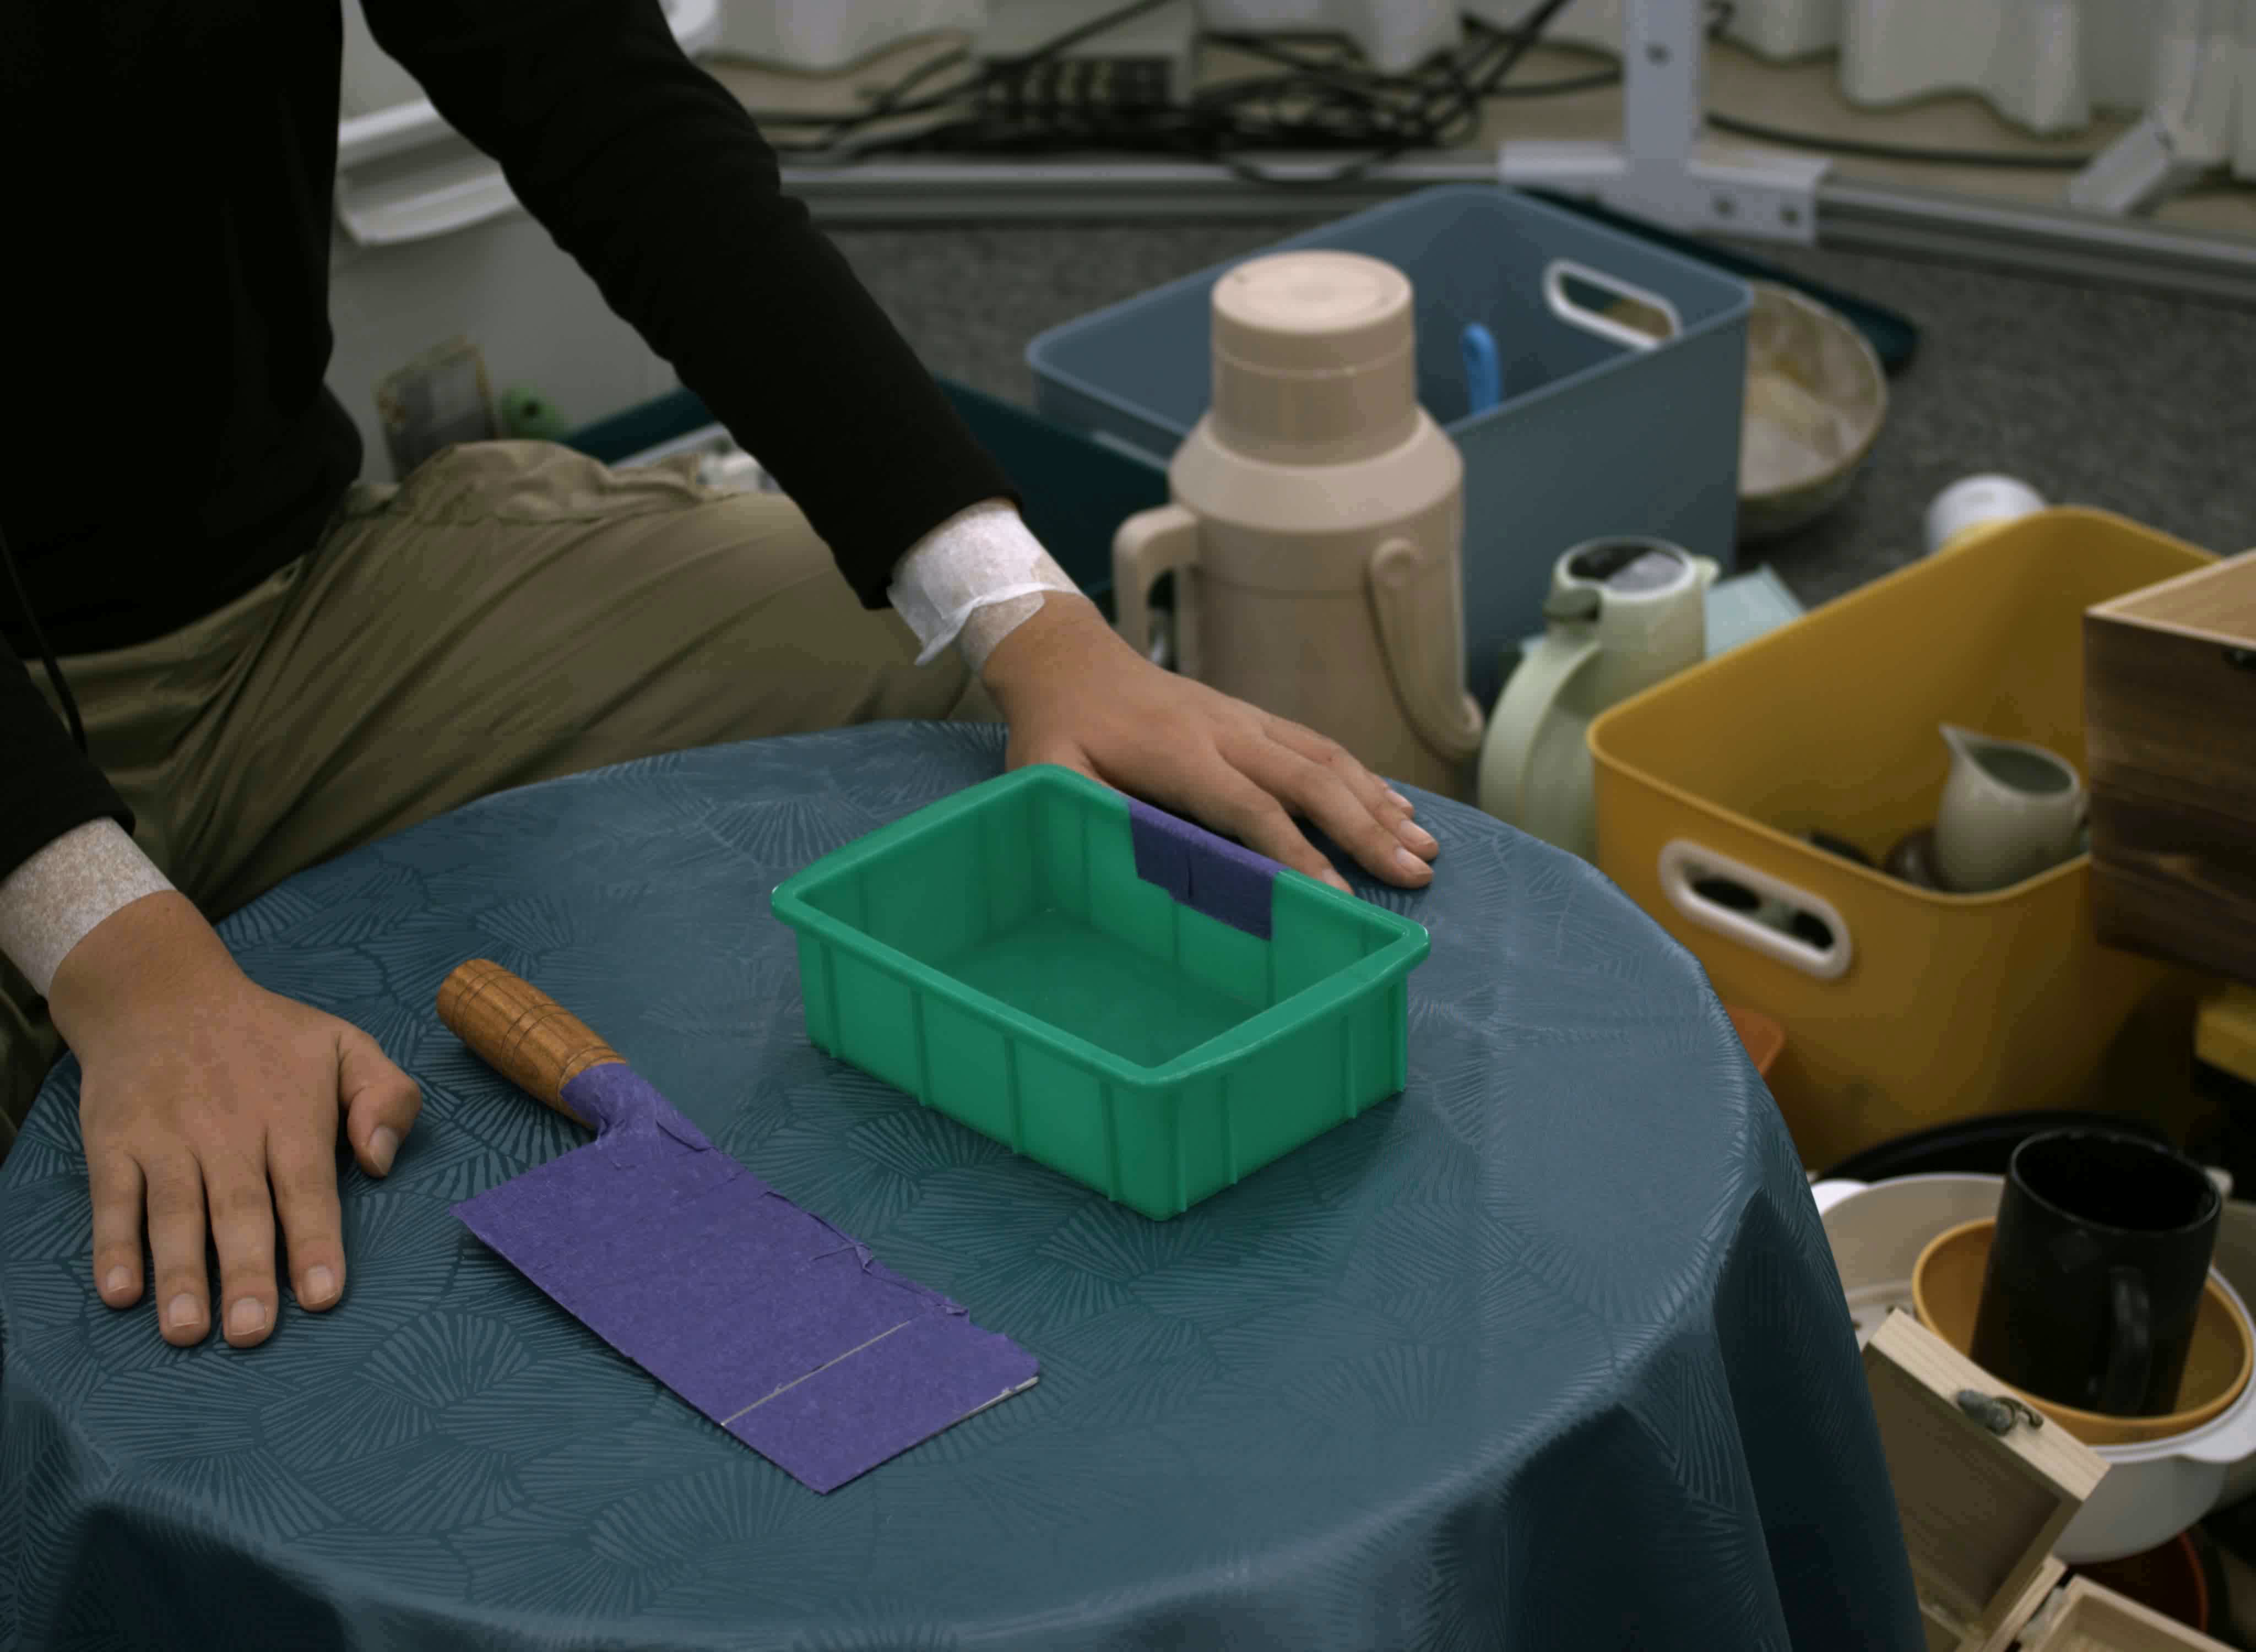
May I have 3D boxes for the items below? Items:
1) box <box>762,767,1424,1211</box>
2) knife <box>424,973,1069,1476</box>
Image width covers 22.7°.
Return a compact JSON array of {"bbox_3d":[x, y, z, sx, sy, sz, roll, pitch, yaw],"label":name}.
[{"bbox_3d":[-0.012,0.056,1.923,0.140,0.065,0.210,-25,32,-38],"label":"box"},{"bbox_3d":[-0.156,0.127,1.838,0.105,0.032,0.315,-23,34,-34],"label":"knife"}]
